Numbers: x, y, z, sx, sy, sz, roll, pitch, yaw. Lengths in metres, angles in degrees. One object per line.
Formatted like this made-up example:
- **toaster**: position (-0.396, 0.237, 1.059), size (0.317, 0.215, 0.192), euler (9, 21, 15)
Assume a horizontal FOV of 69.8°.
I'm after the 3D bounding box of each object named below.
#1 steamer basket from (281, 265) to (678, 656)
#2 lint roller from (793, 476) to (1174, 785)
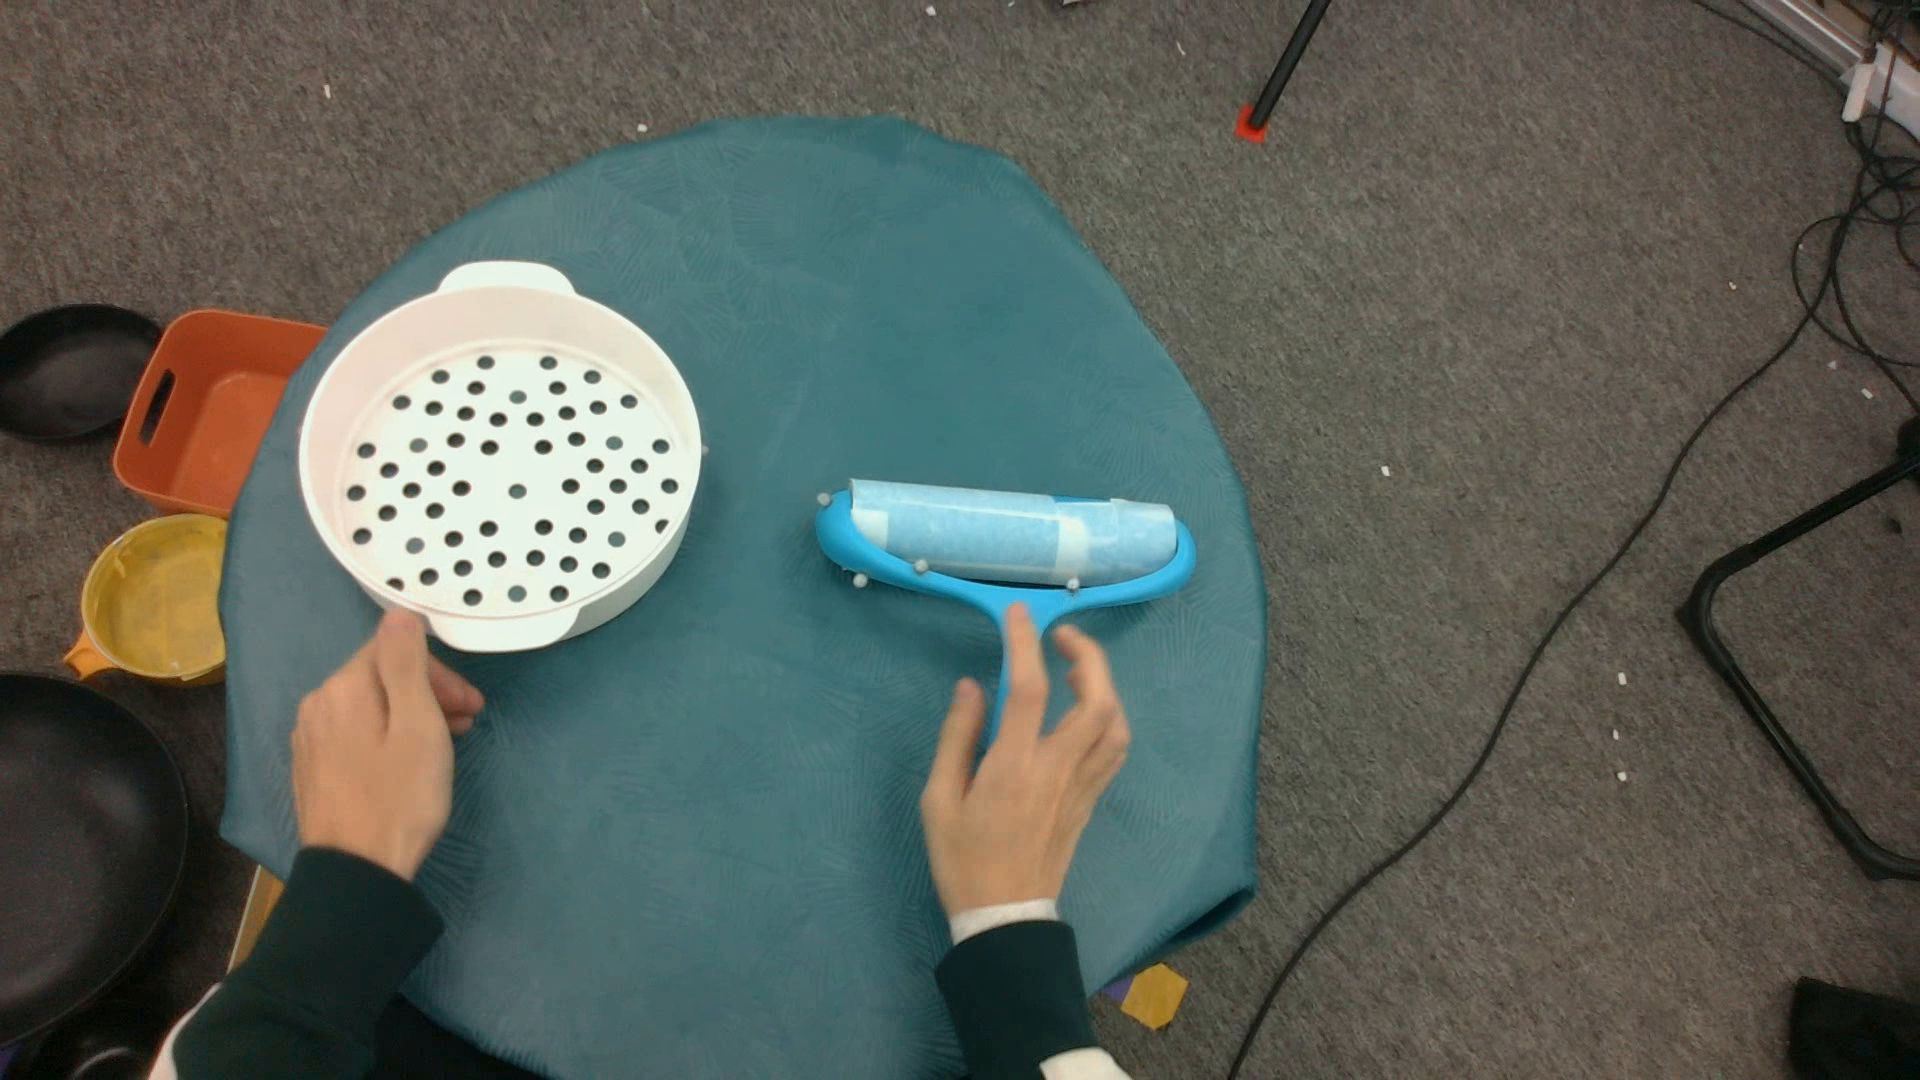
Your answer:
- **steamer basket**: position (-0.258, -0.038, 0.759), size (0.202, 0.069, 0.231), euler (-4, 68, -13)
- **lint roller**: position (0.023, 0.045, 0.791), size (0.229, 0.067, 0.181), euler (-1, 65, -15)
